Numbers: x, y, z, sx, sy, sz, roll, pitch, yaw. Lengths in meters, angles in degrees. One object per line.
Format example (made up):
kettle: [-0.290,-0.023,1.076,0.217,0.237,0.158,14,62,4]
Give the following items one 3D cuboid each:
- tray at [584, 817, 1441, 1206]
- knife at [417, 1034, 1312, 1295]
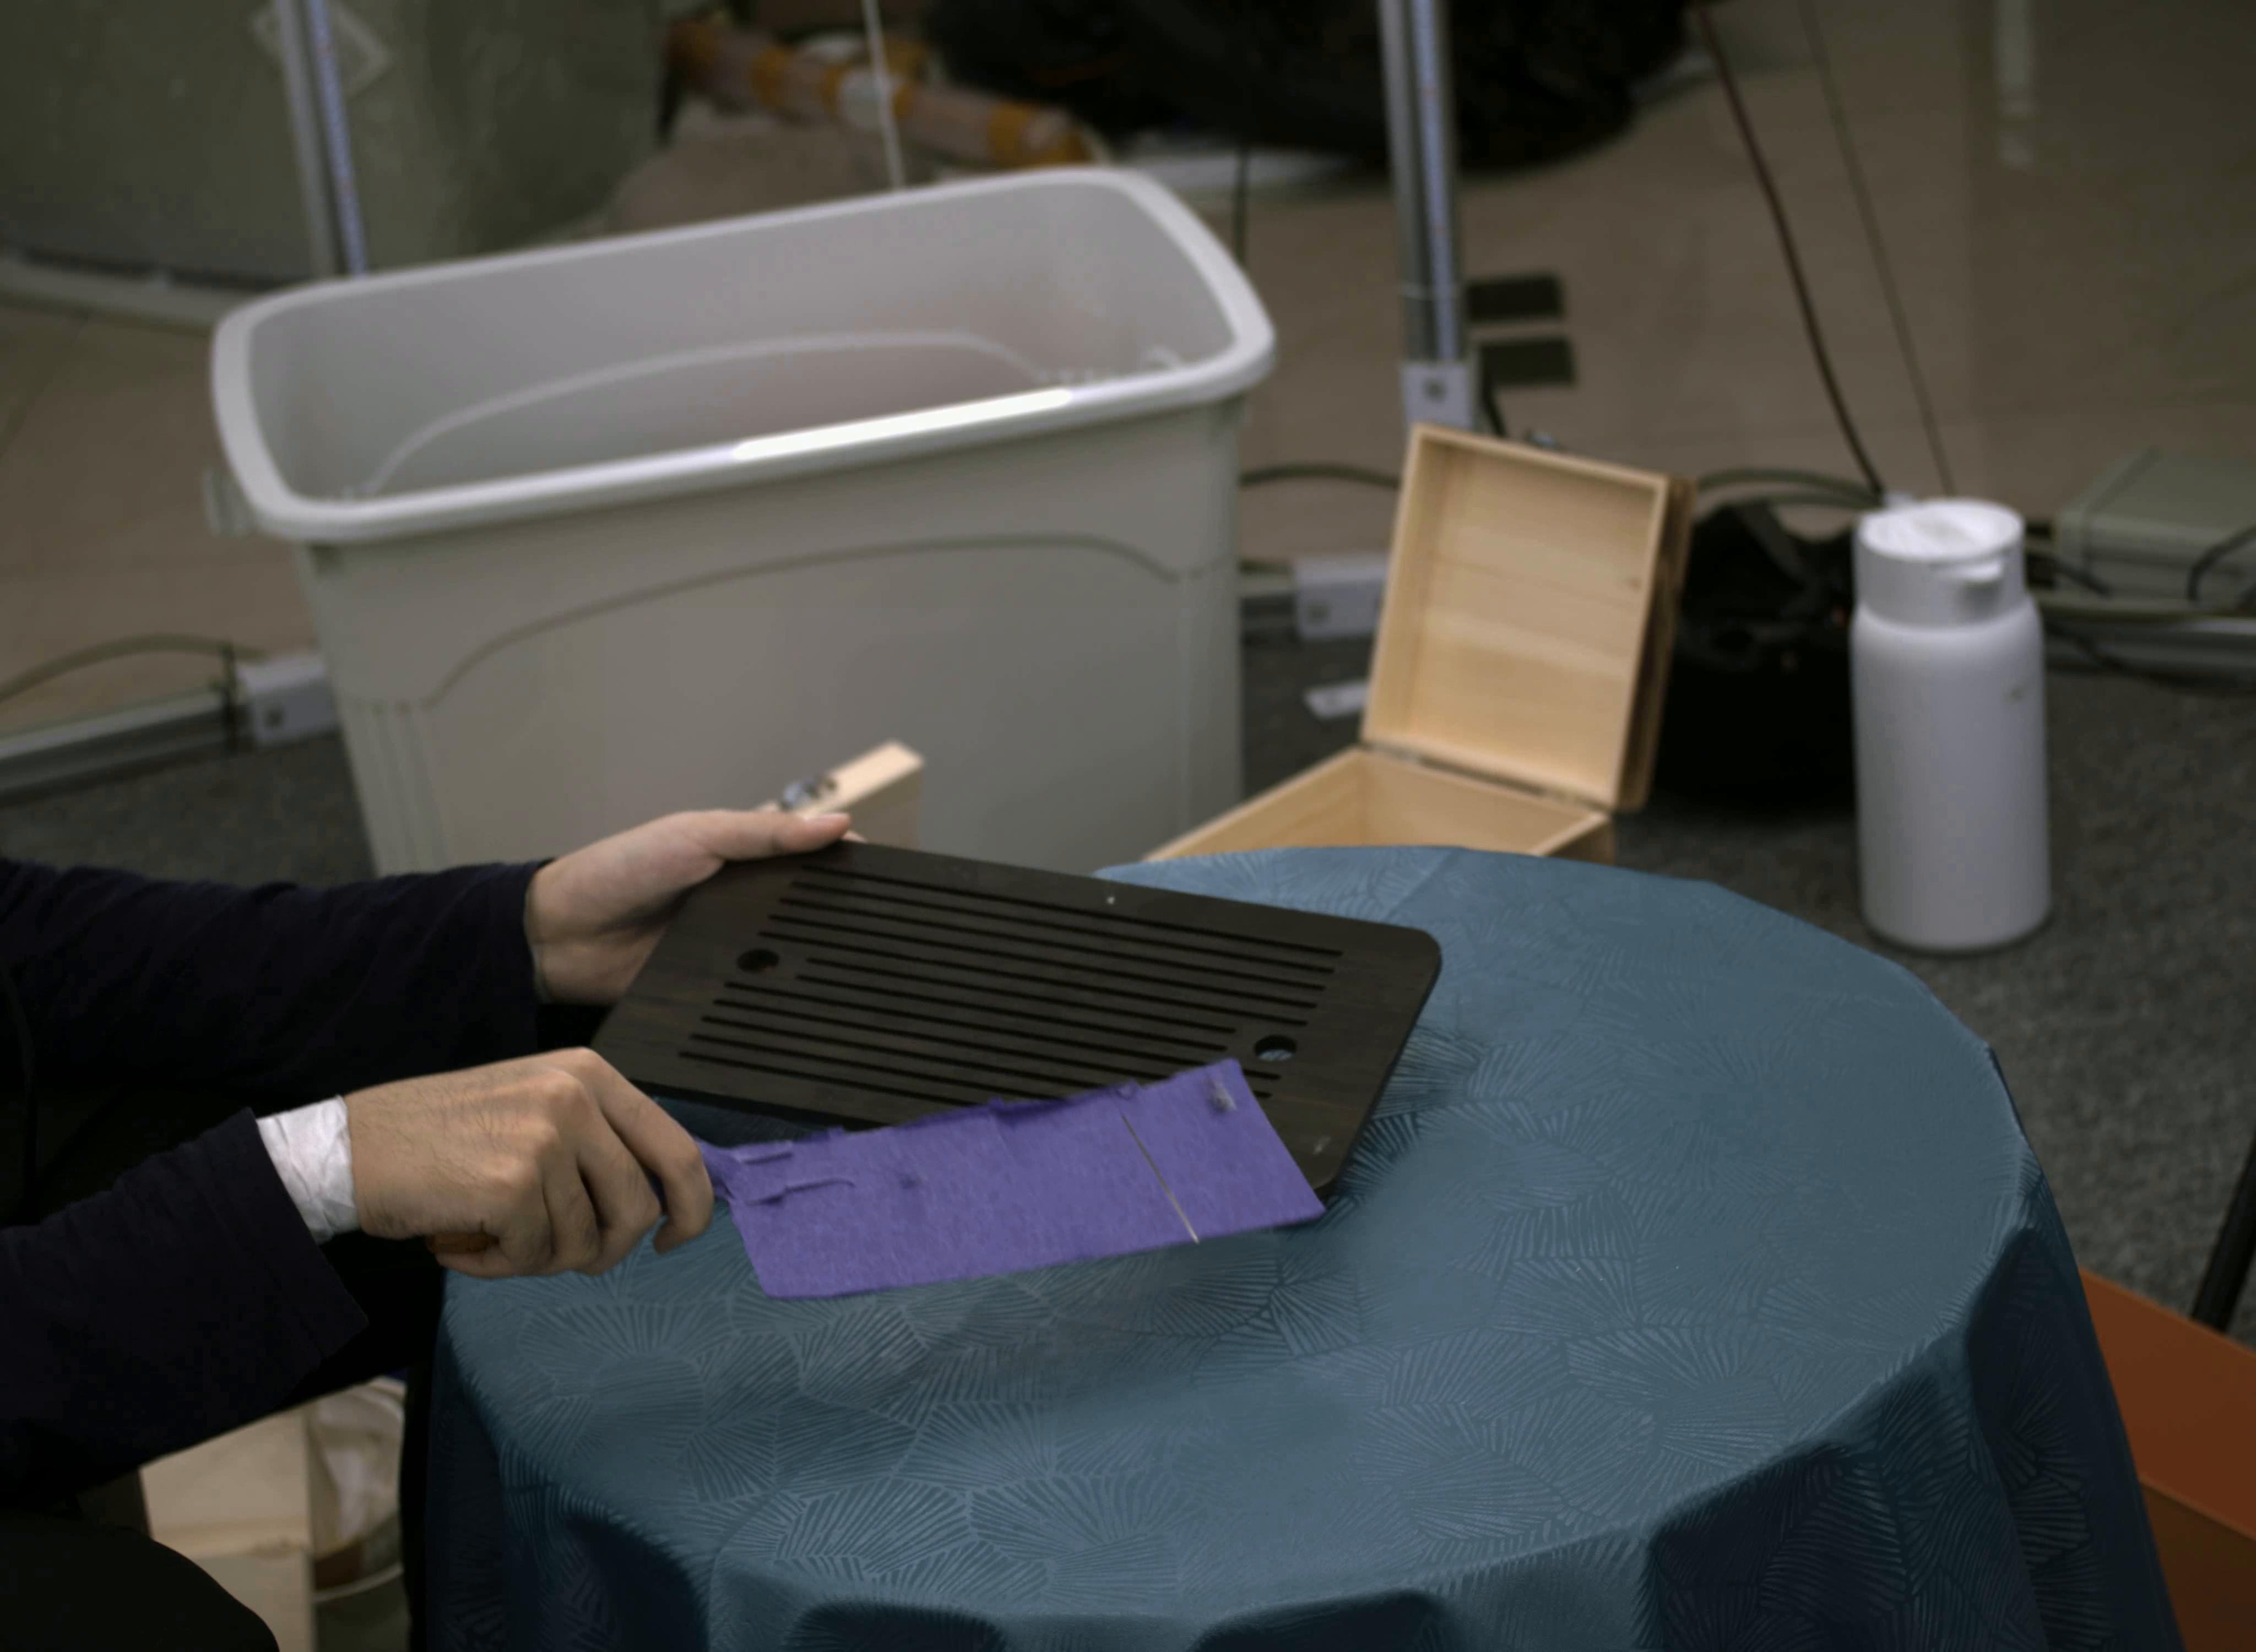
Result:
tray: [-0.044,0.072,2.217,0.305,0.019,0.167,9,39,18]
knife: [-0.091,0.128,2.024,0.314,0.033,0.102,-11,36,-16]
